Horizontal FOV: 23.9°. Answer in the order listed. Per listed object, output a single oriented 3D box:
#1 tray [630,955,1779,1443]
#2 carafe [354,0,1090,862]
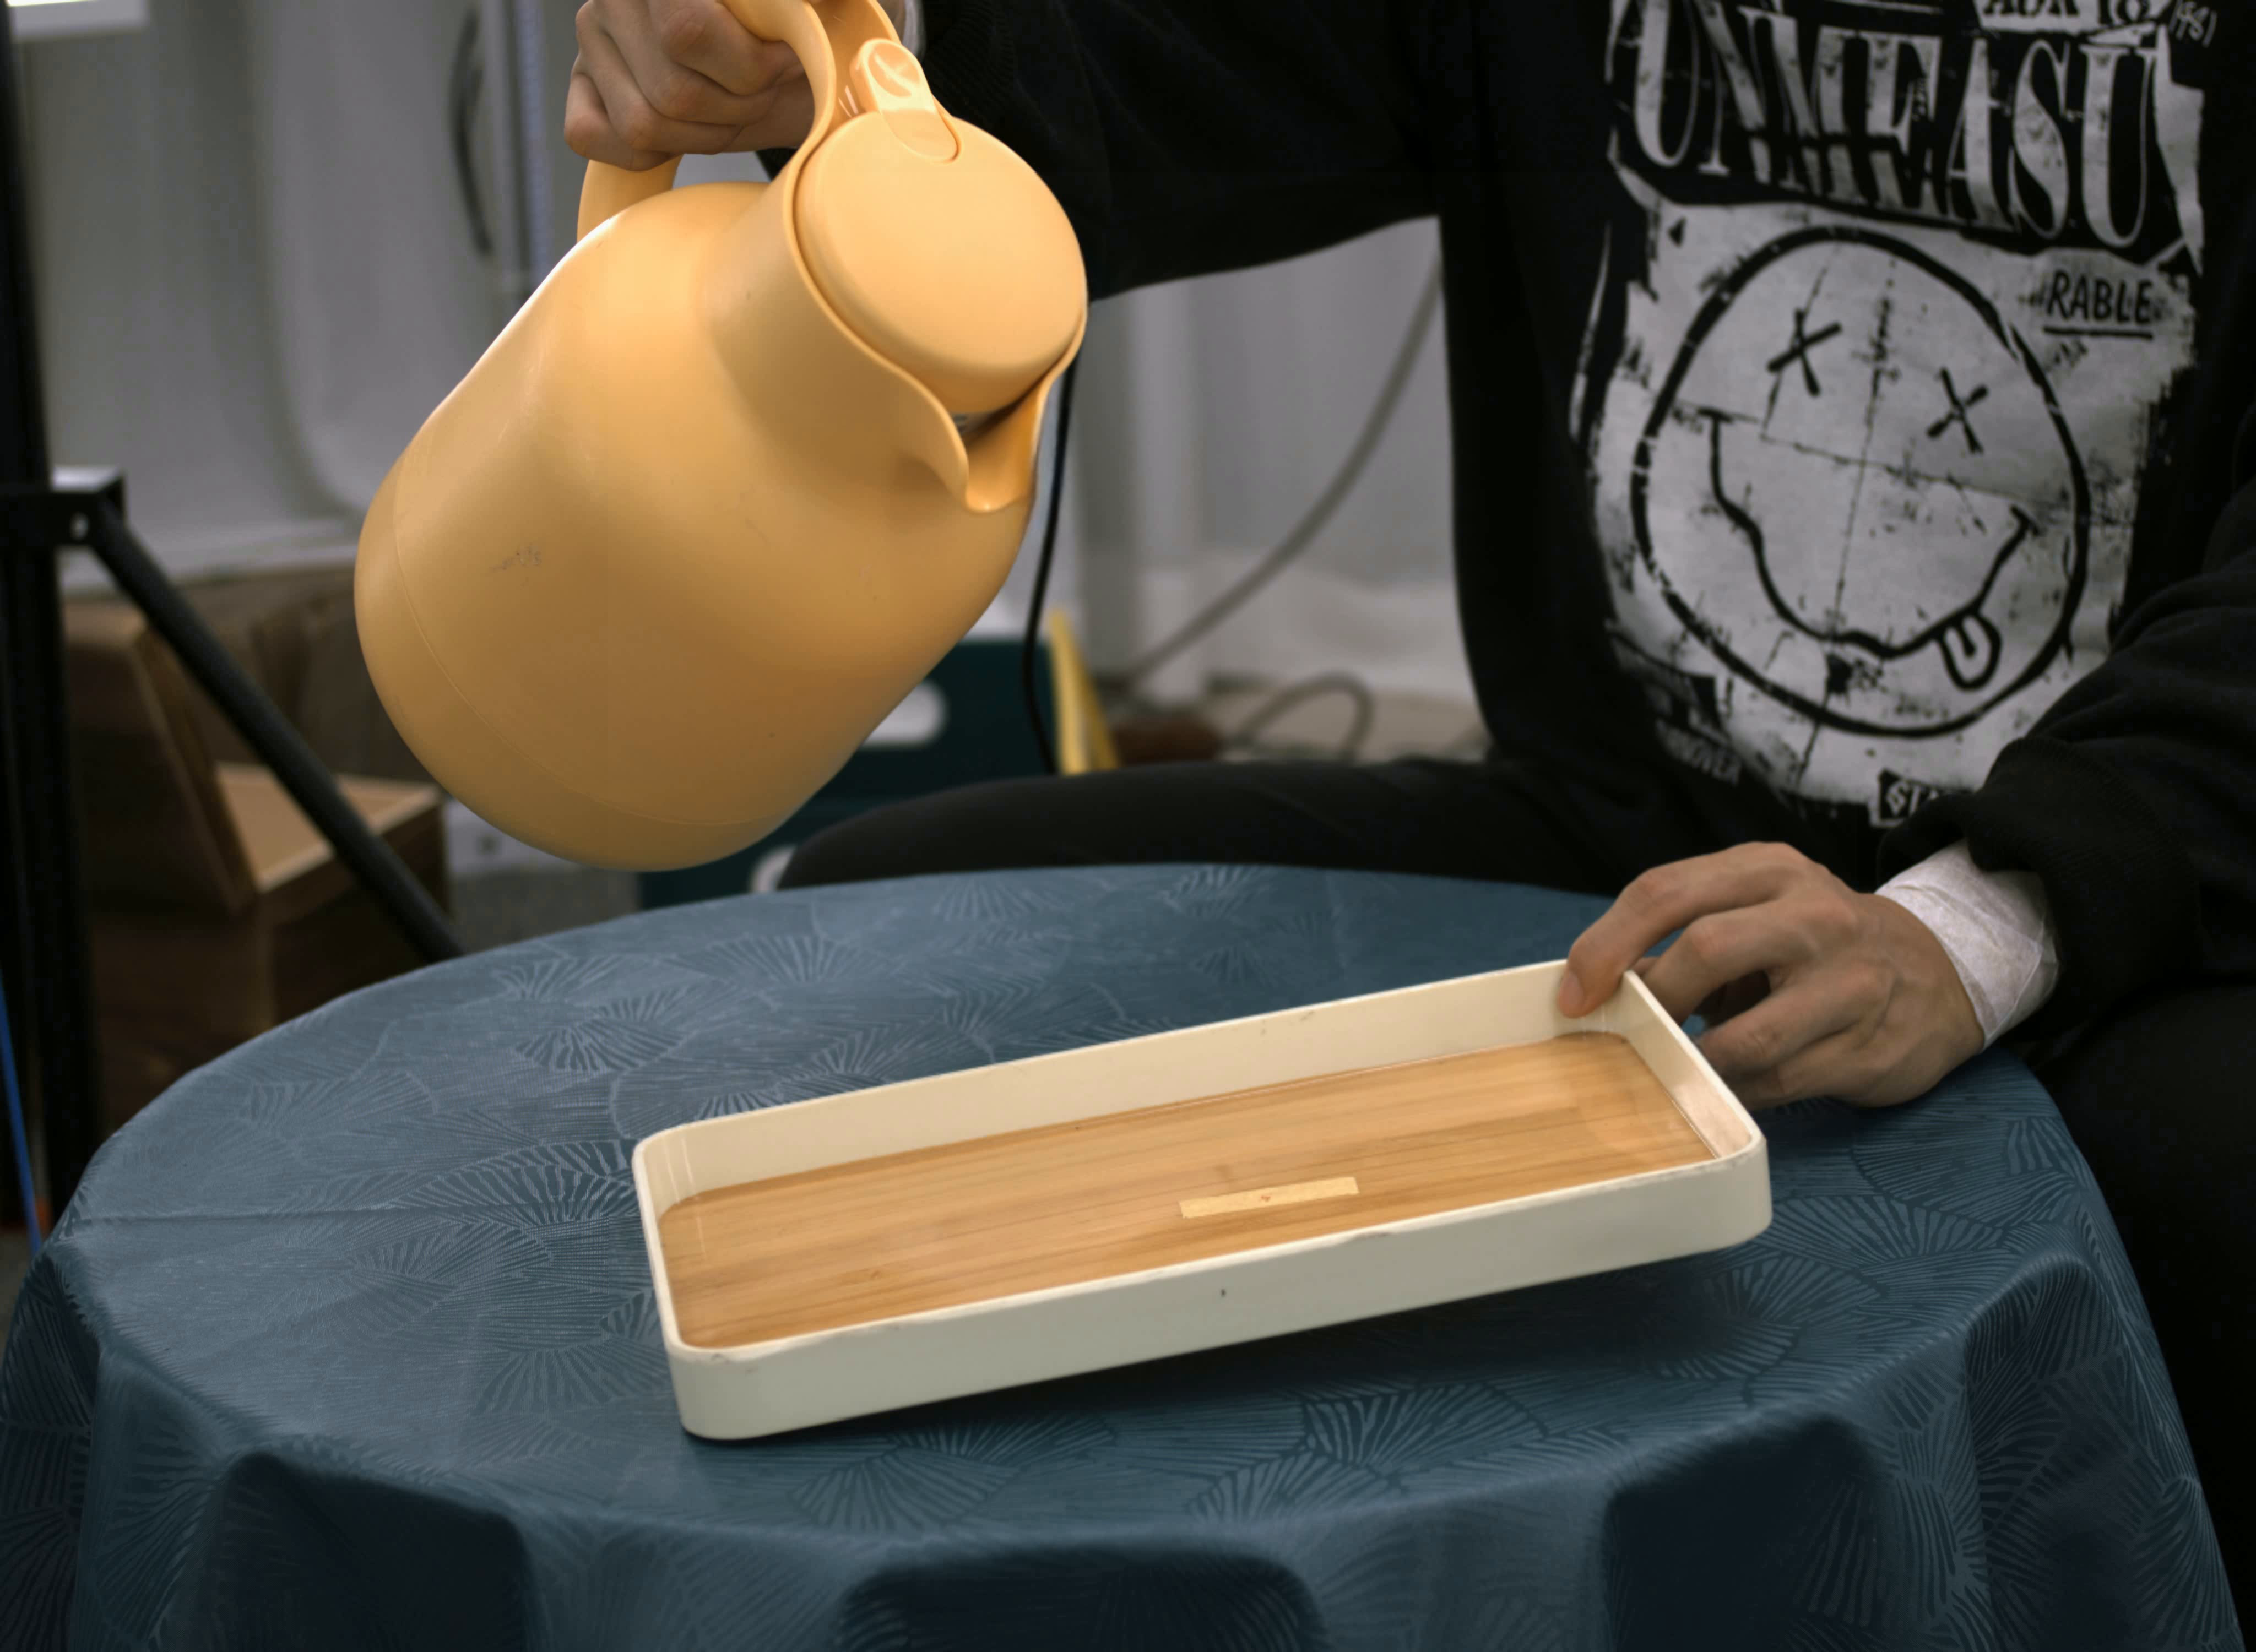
[{"bbox_3d":[0.016,0.100,1.473,0.298,0.027,0.193,-10,17,-4],"label":"tray"},{"bbox_3d":[-0.115,-0.126,1.573,0.159,0.205,0.263,2,-28,-35],"label":"carafe"}]
